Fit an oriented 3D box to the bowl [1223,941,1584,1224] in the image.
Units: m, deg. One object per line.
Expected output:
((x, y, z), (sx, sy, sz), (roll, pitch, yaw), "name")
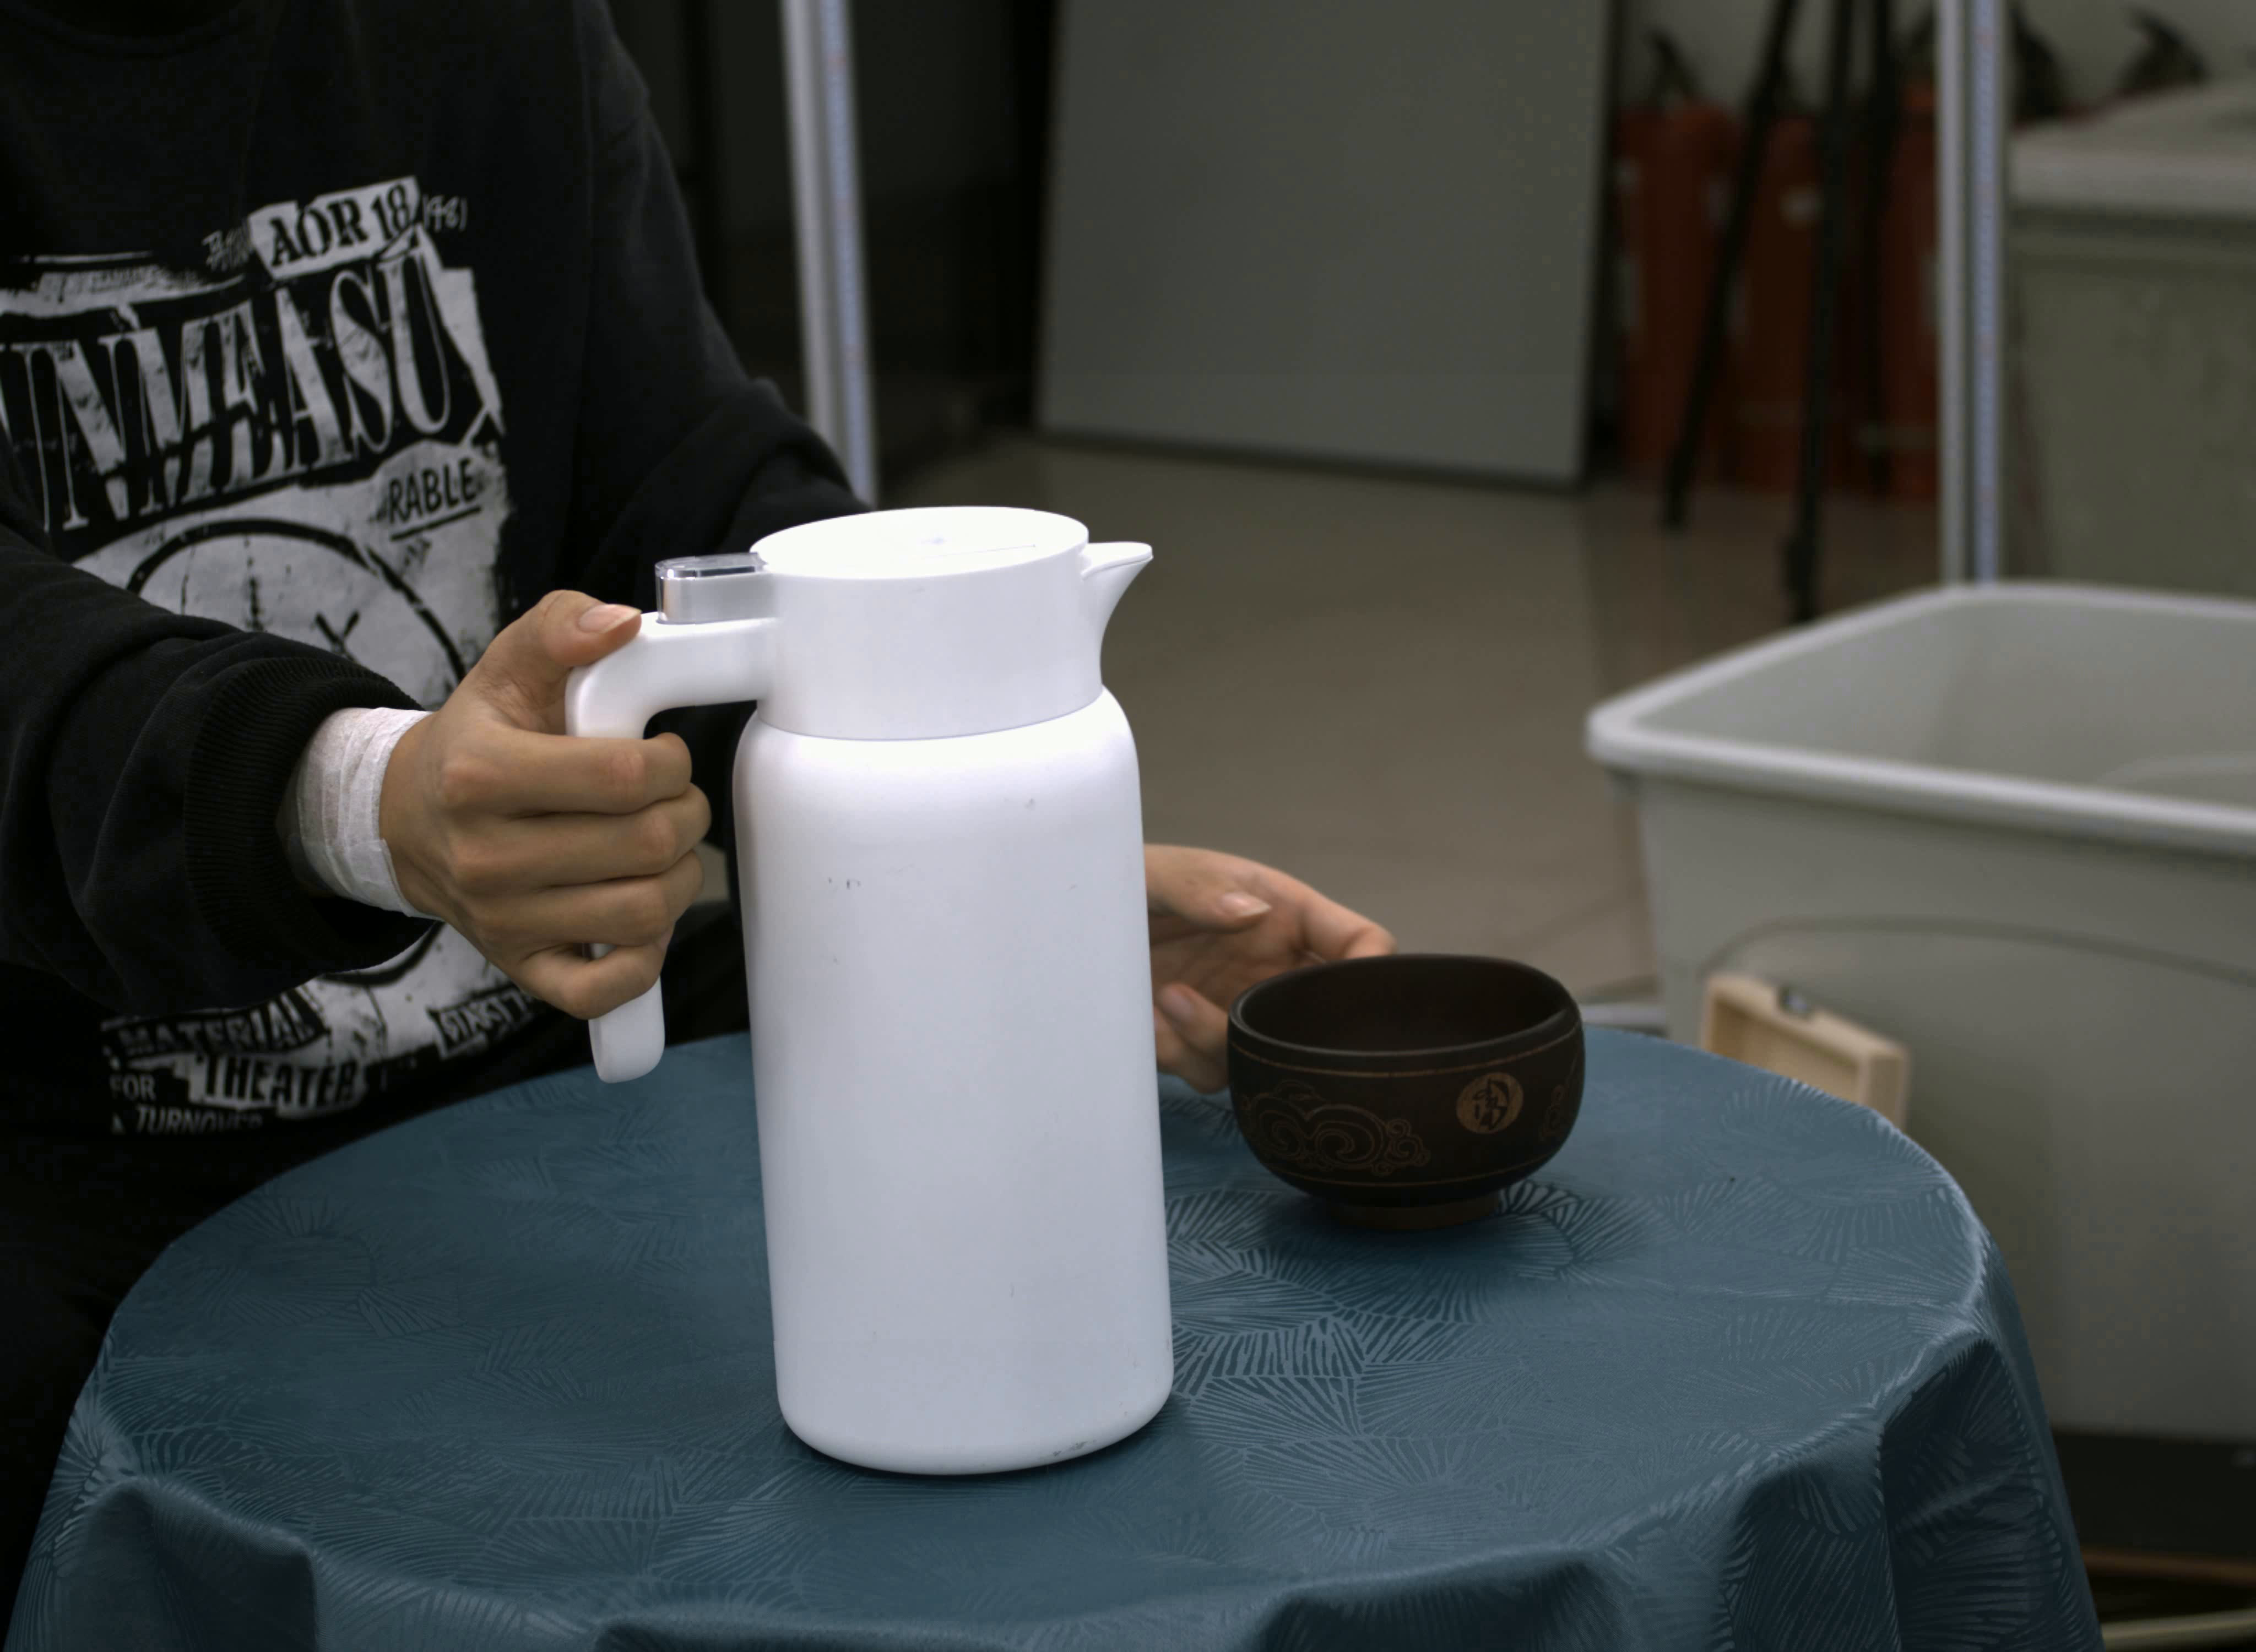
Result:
((0.090, 0.086, 1.733), (0.116, 0.070, 0.118), (-5, 14, 0), "bowl")

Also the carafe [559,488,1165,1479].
((-0.070, 0.045, 1.542), (0.169, 0.272, 0.125), (-7, 15, -13), "carafe")
